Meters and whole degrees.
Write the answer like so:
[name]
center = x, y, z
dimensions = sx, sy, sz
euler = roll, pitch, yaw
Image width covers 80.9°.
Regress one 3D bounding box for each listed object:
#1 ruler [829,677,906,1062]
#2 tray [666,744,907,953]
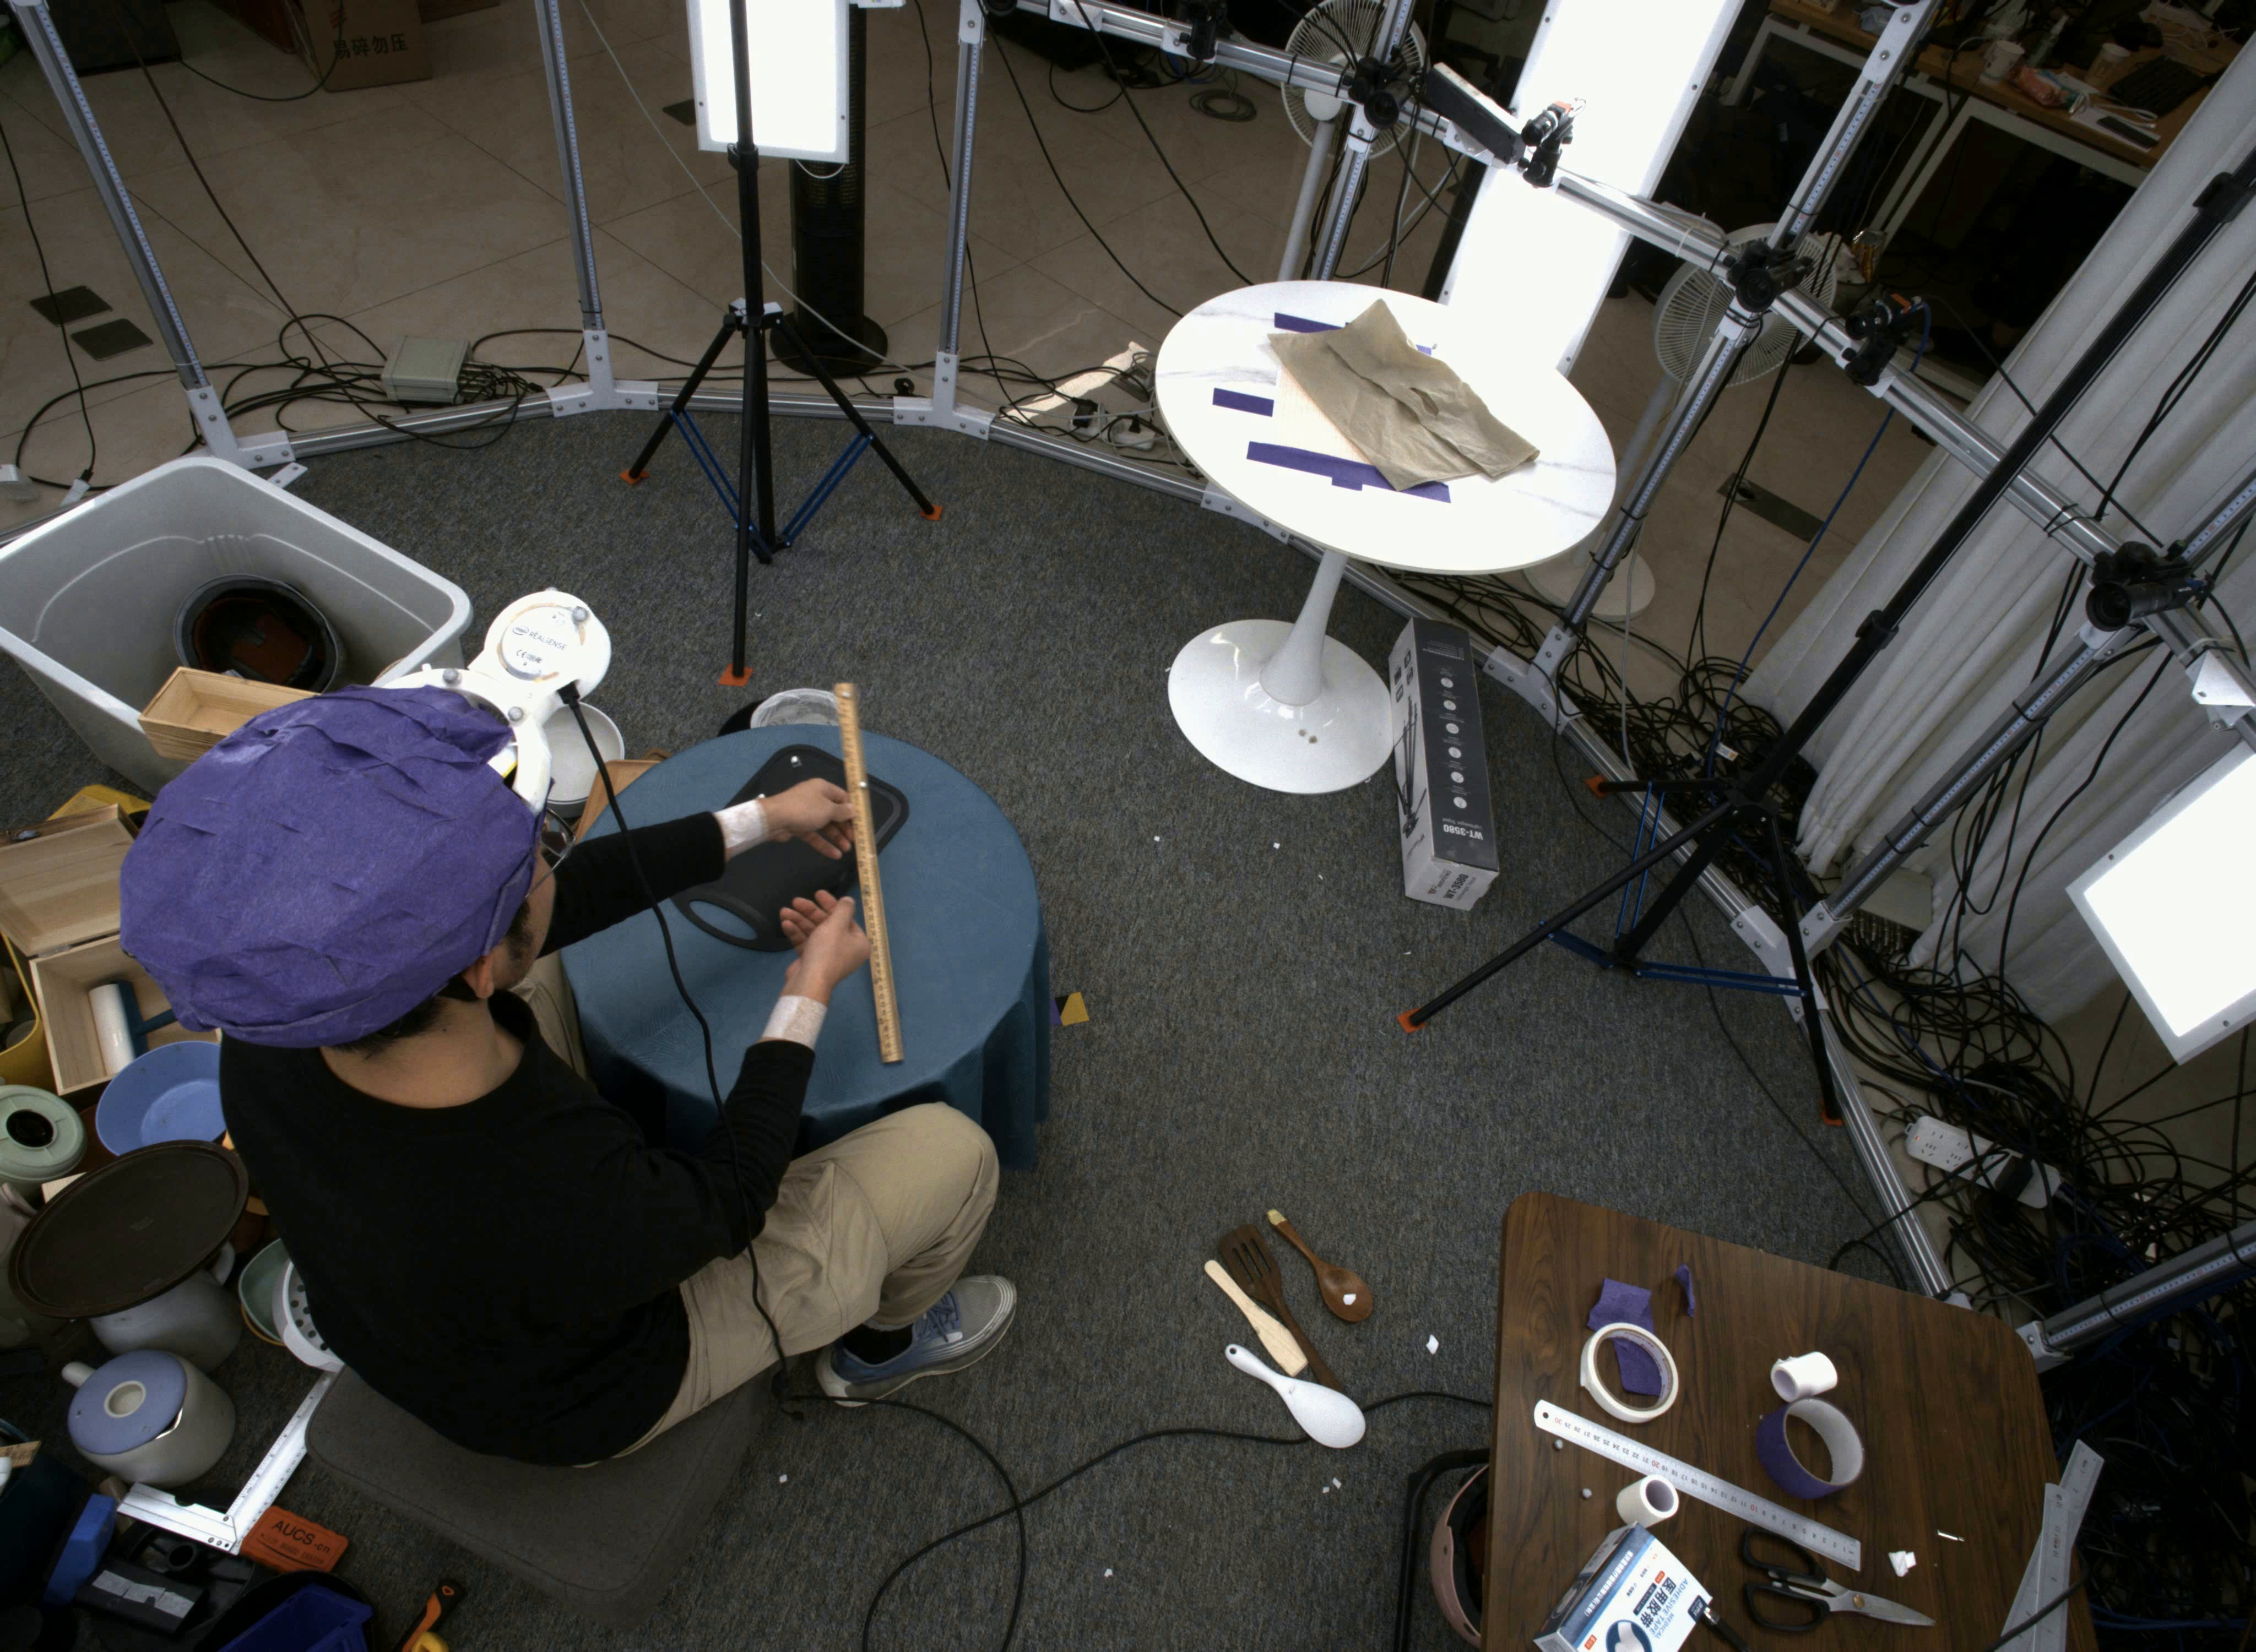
[ruler]
center = -0.327, 0.043, 1.613
dimensions = 0.027, 0.006, 0.497
euler = -7, 74, -17
[tray]
center = -0.445, 0.025, 1.690
dimensions = 0.208, 0.010, 0.324
euler = 28, 52, 7
